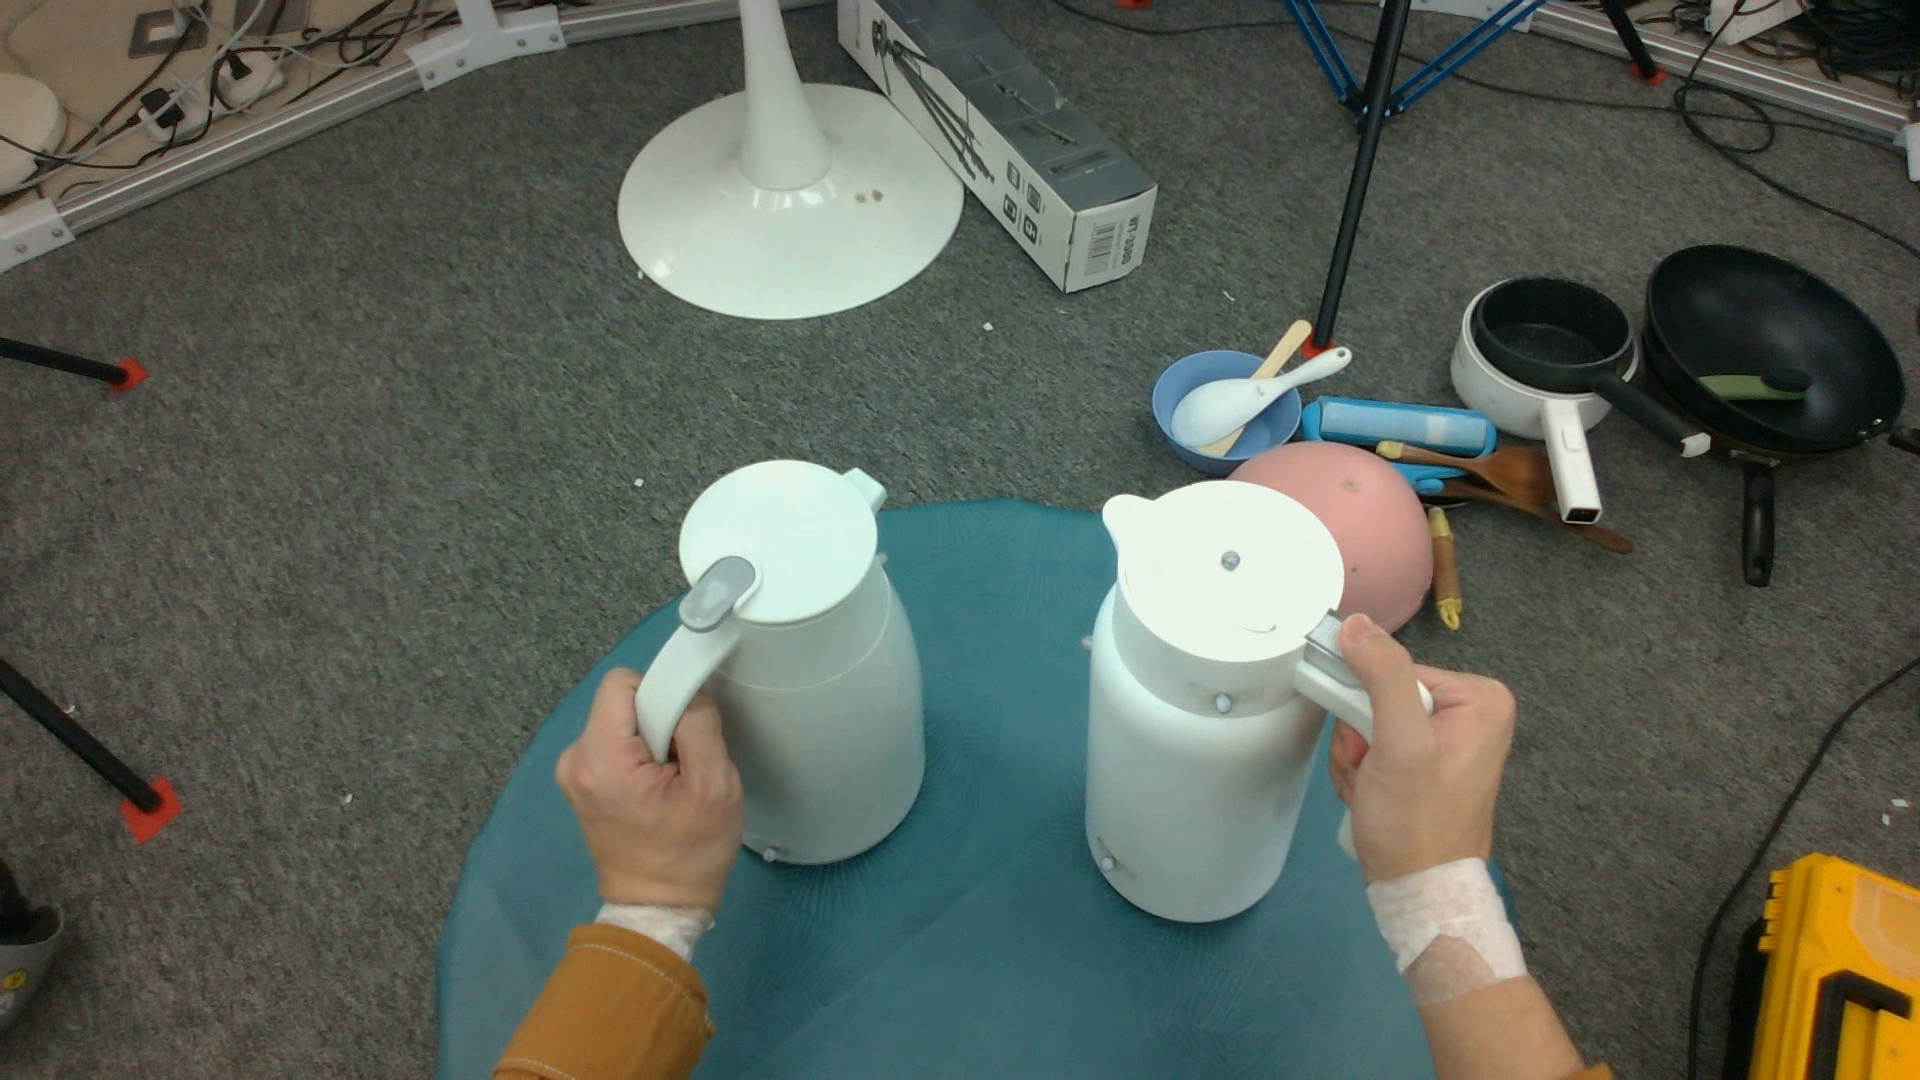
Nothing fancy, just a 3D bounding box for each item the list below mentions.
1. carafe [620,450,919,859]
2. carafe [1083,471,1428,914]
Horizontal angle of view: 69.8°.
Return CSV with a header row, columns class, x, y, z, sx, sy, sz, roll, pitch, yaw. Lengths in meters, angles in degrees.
class,x,y,z,sx,sy,sz,roll,pitch,yaw
carafe,-0.100,0.073,0.719,0.132,0.247,0.168,35,62,20
carafe,0.136,0.094,0.698,0.173,0.267,0.124,33,59,26
